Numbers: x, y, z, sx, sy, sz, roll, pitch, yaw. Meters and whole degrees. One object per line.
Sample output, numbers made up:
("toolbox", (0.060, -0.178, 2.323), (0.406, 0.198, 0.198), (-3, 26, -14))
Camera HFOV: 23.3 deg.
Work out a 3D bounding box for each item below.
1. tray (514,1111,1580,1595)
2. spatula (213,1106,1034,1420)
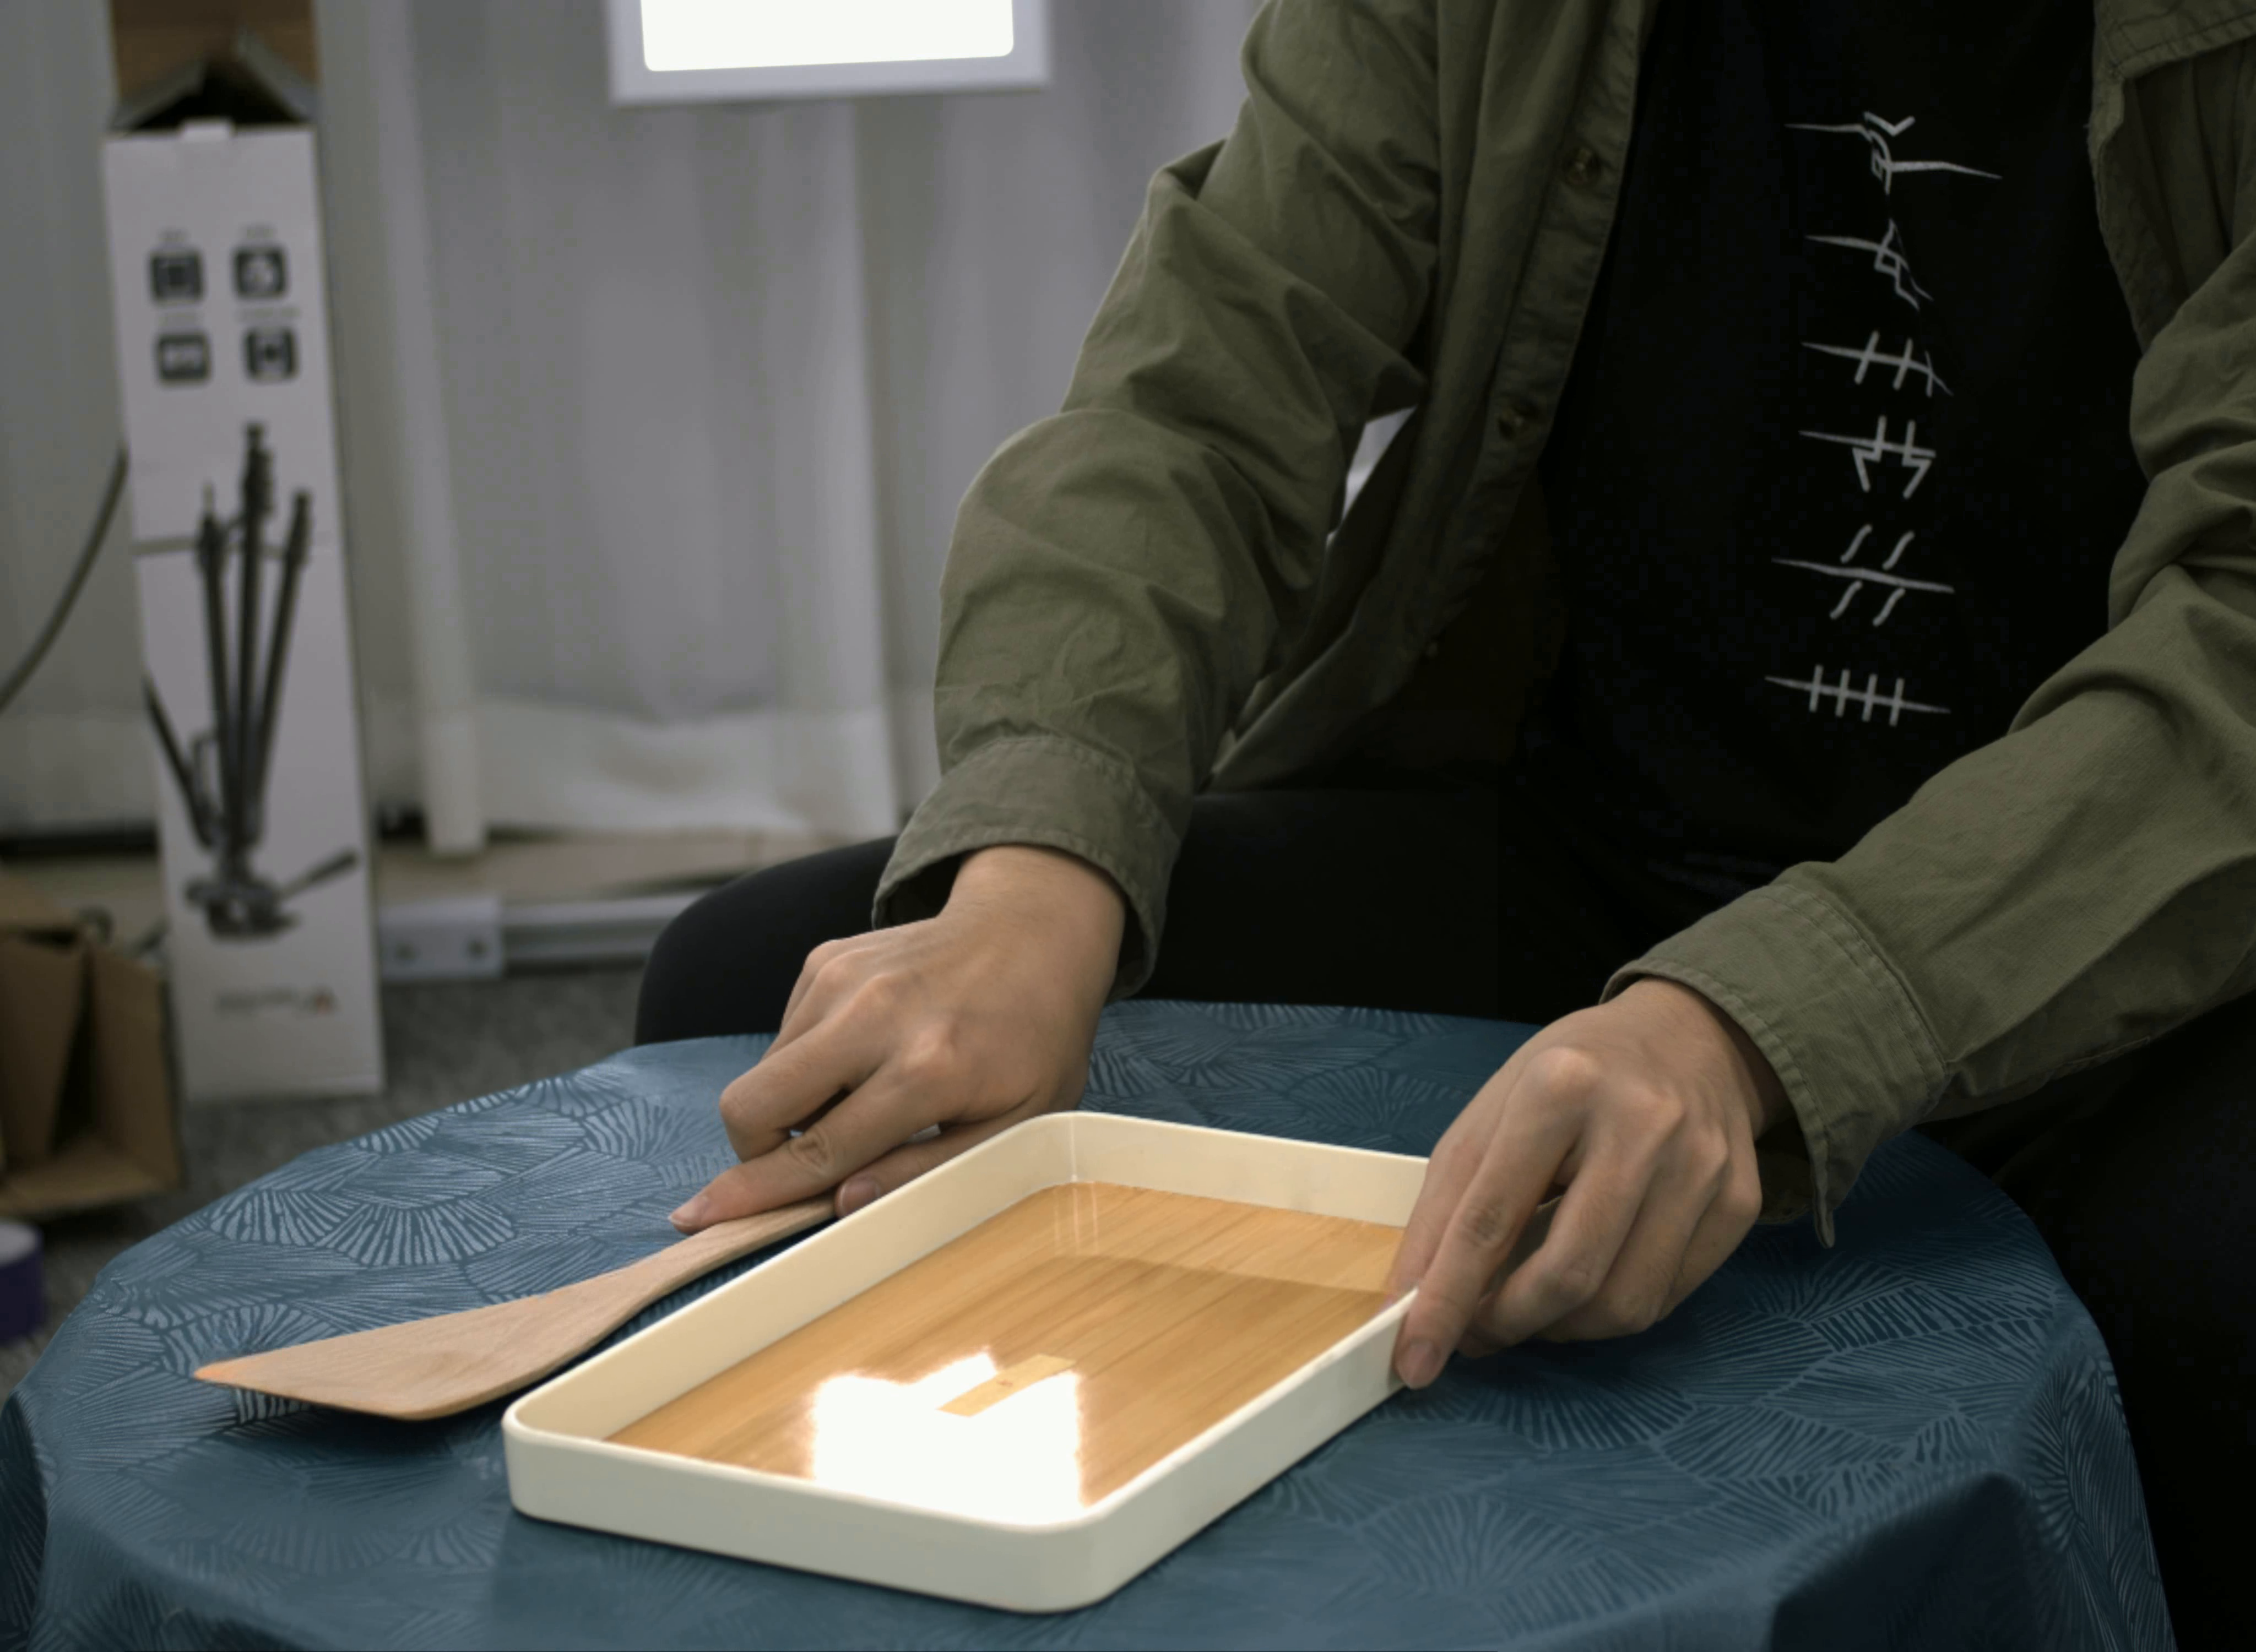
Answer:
("tray", (-0.016, 0.144, 1.556), (0.192, 0.027, 0.300), (6, 16, 31))
("spatula", (-0.134, 0.129, 1.658), (0.080, 0.016, 0.327), (8, 19, 37))
